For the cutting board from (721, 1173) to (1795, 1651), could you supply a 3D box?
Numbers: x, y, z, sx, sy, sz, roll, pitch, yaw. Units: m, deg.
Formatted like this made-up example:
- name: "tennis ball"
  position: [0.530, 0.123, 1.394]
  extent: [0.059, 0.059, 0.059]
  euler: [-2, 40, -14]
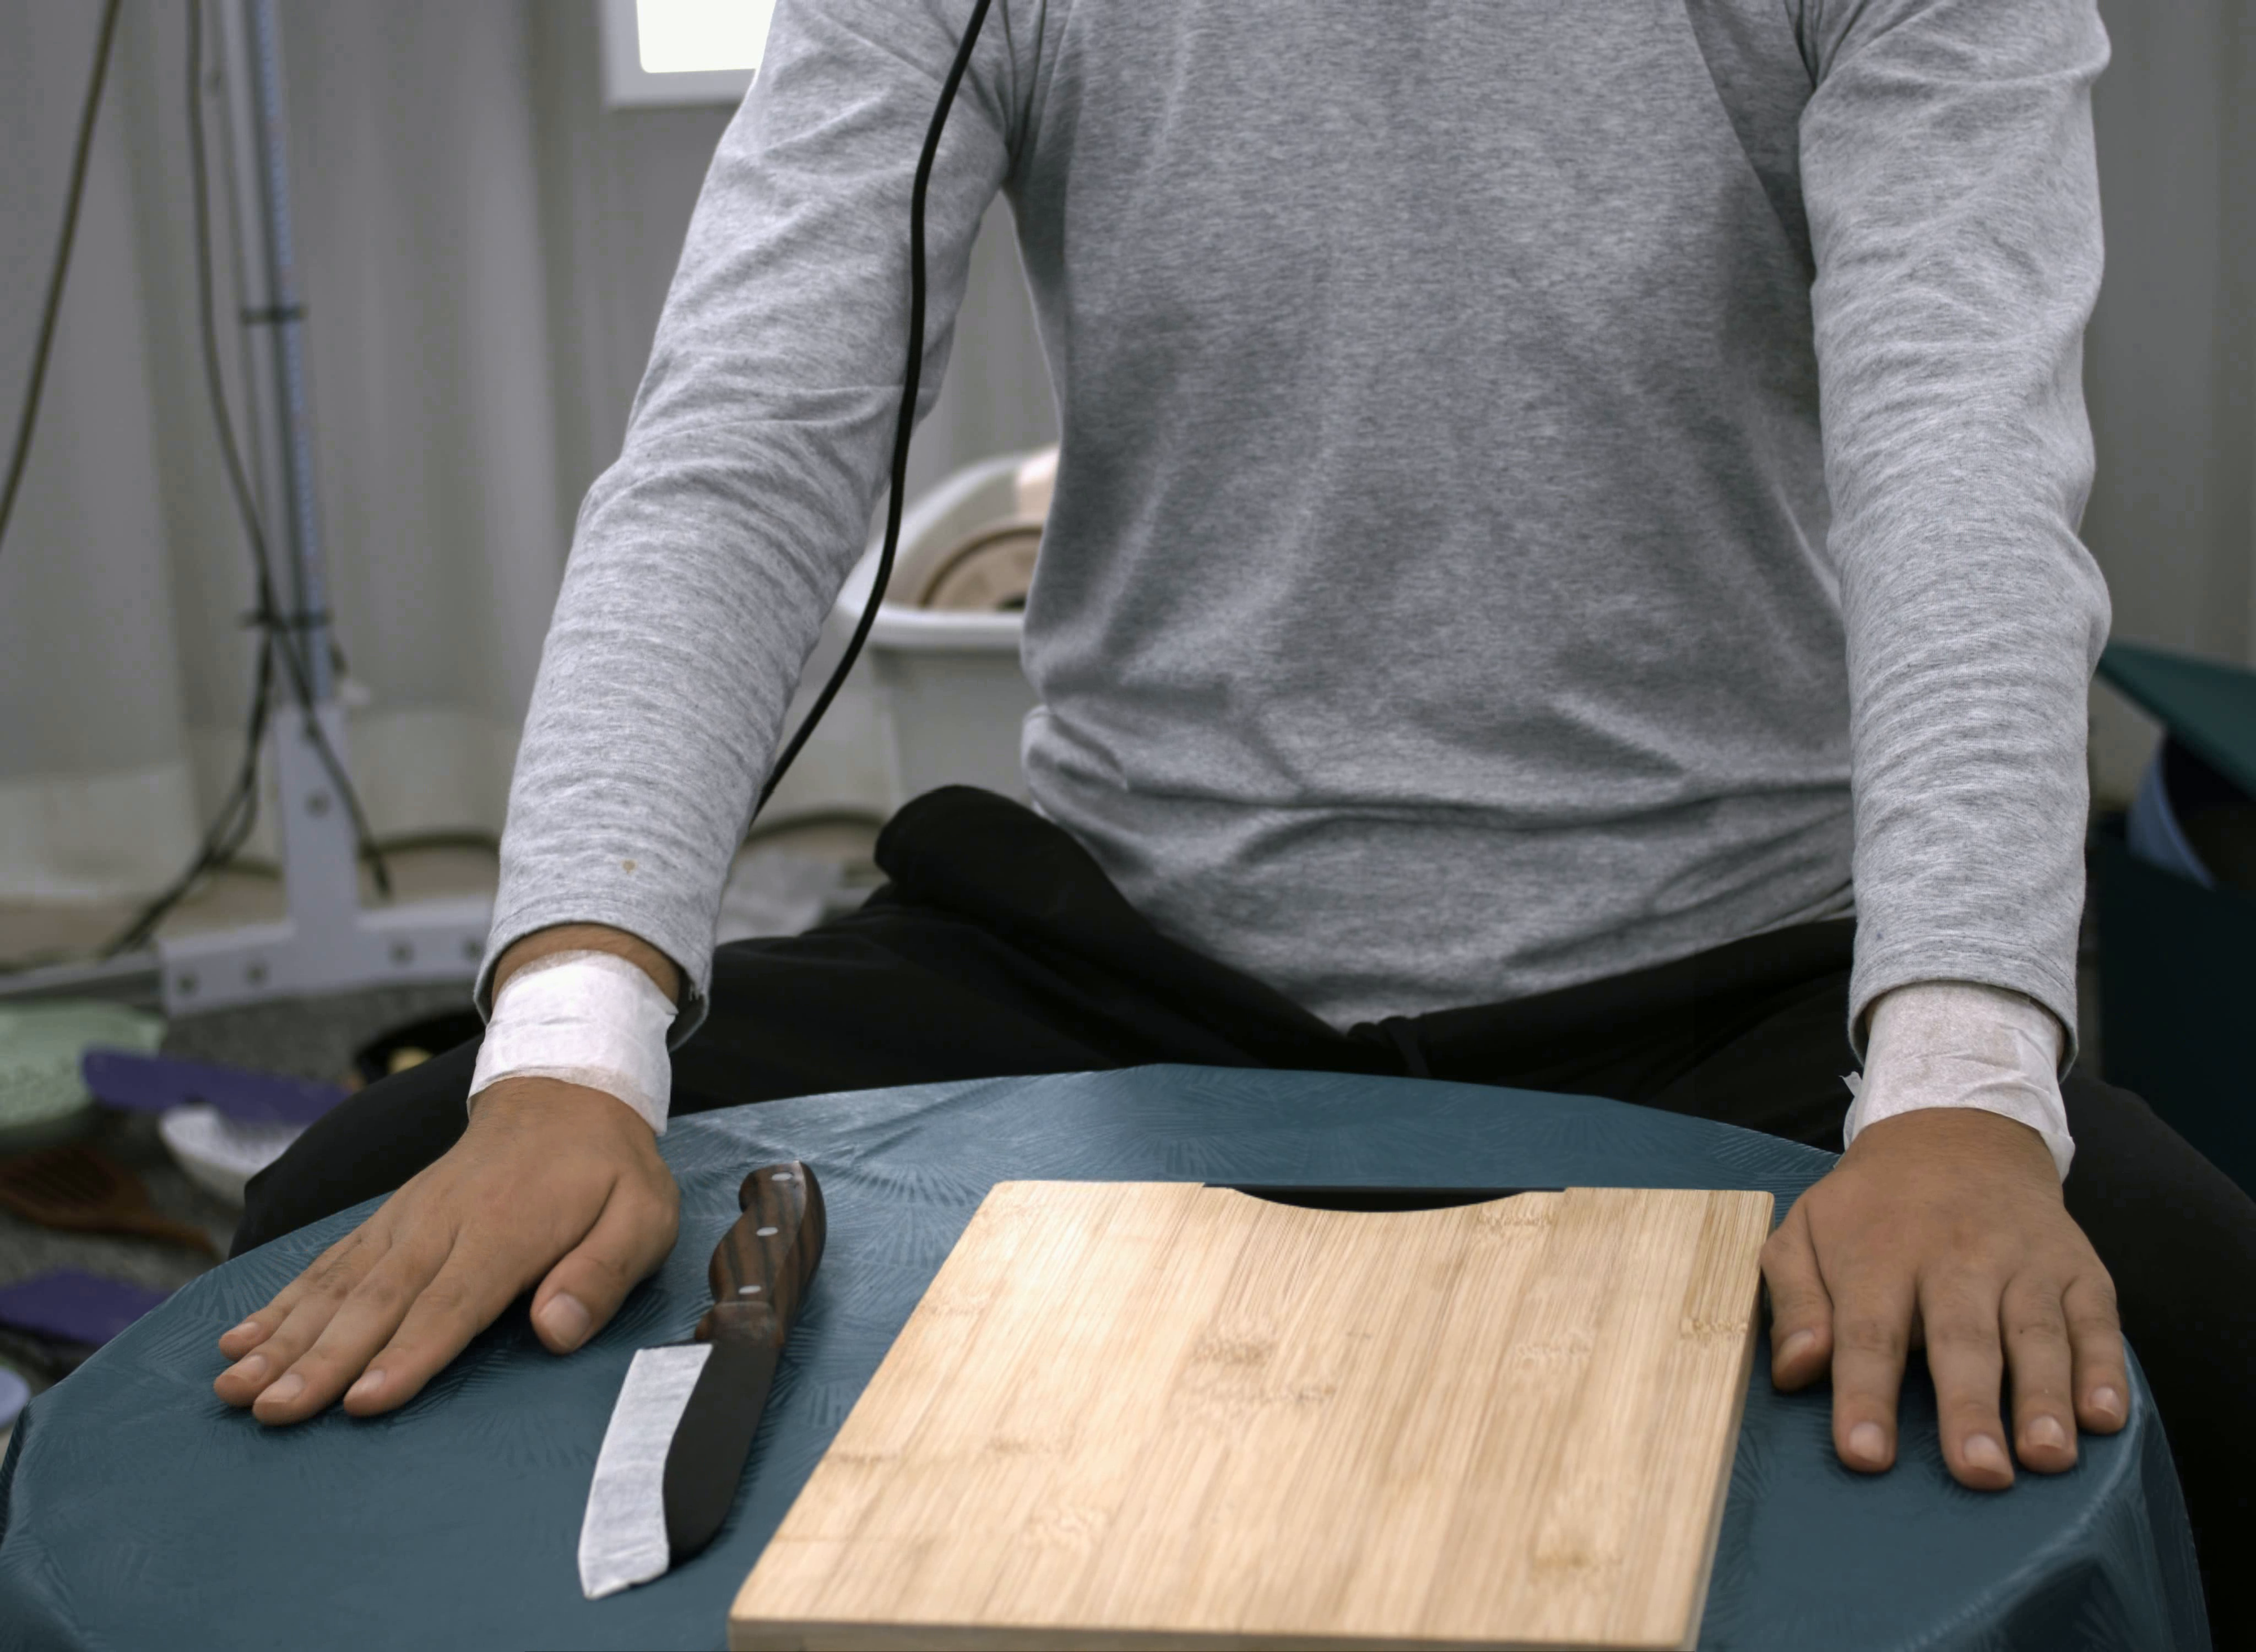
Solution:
- name: "cutting board"
  position: [0.049, 0.161, 1.503]
  extent: [0.250, 0.023, 0.350]
  euler: [0, 15, 10]

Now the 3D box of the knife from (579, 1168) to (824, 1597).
- name: "knife"
  position: [-0.119, 0.157, 1.553]
  extent: [0.050, 0.020, 0.291]
  euler: [-6, 17, 8]
